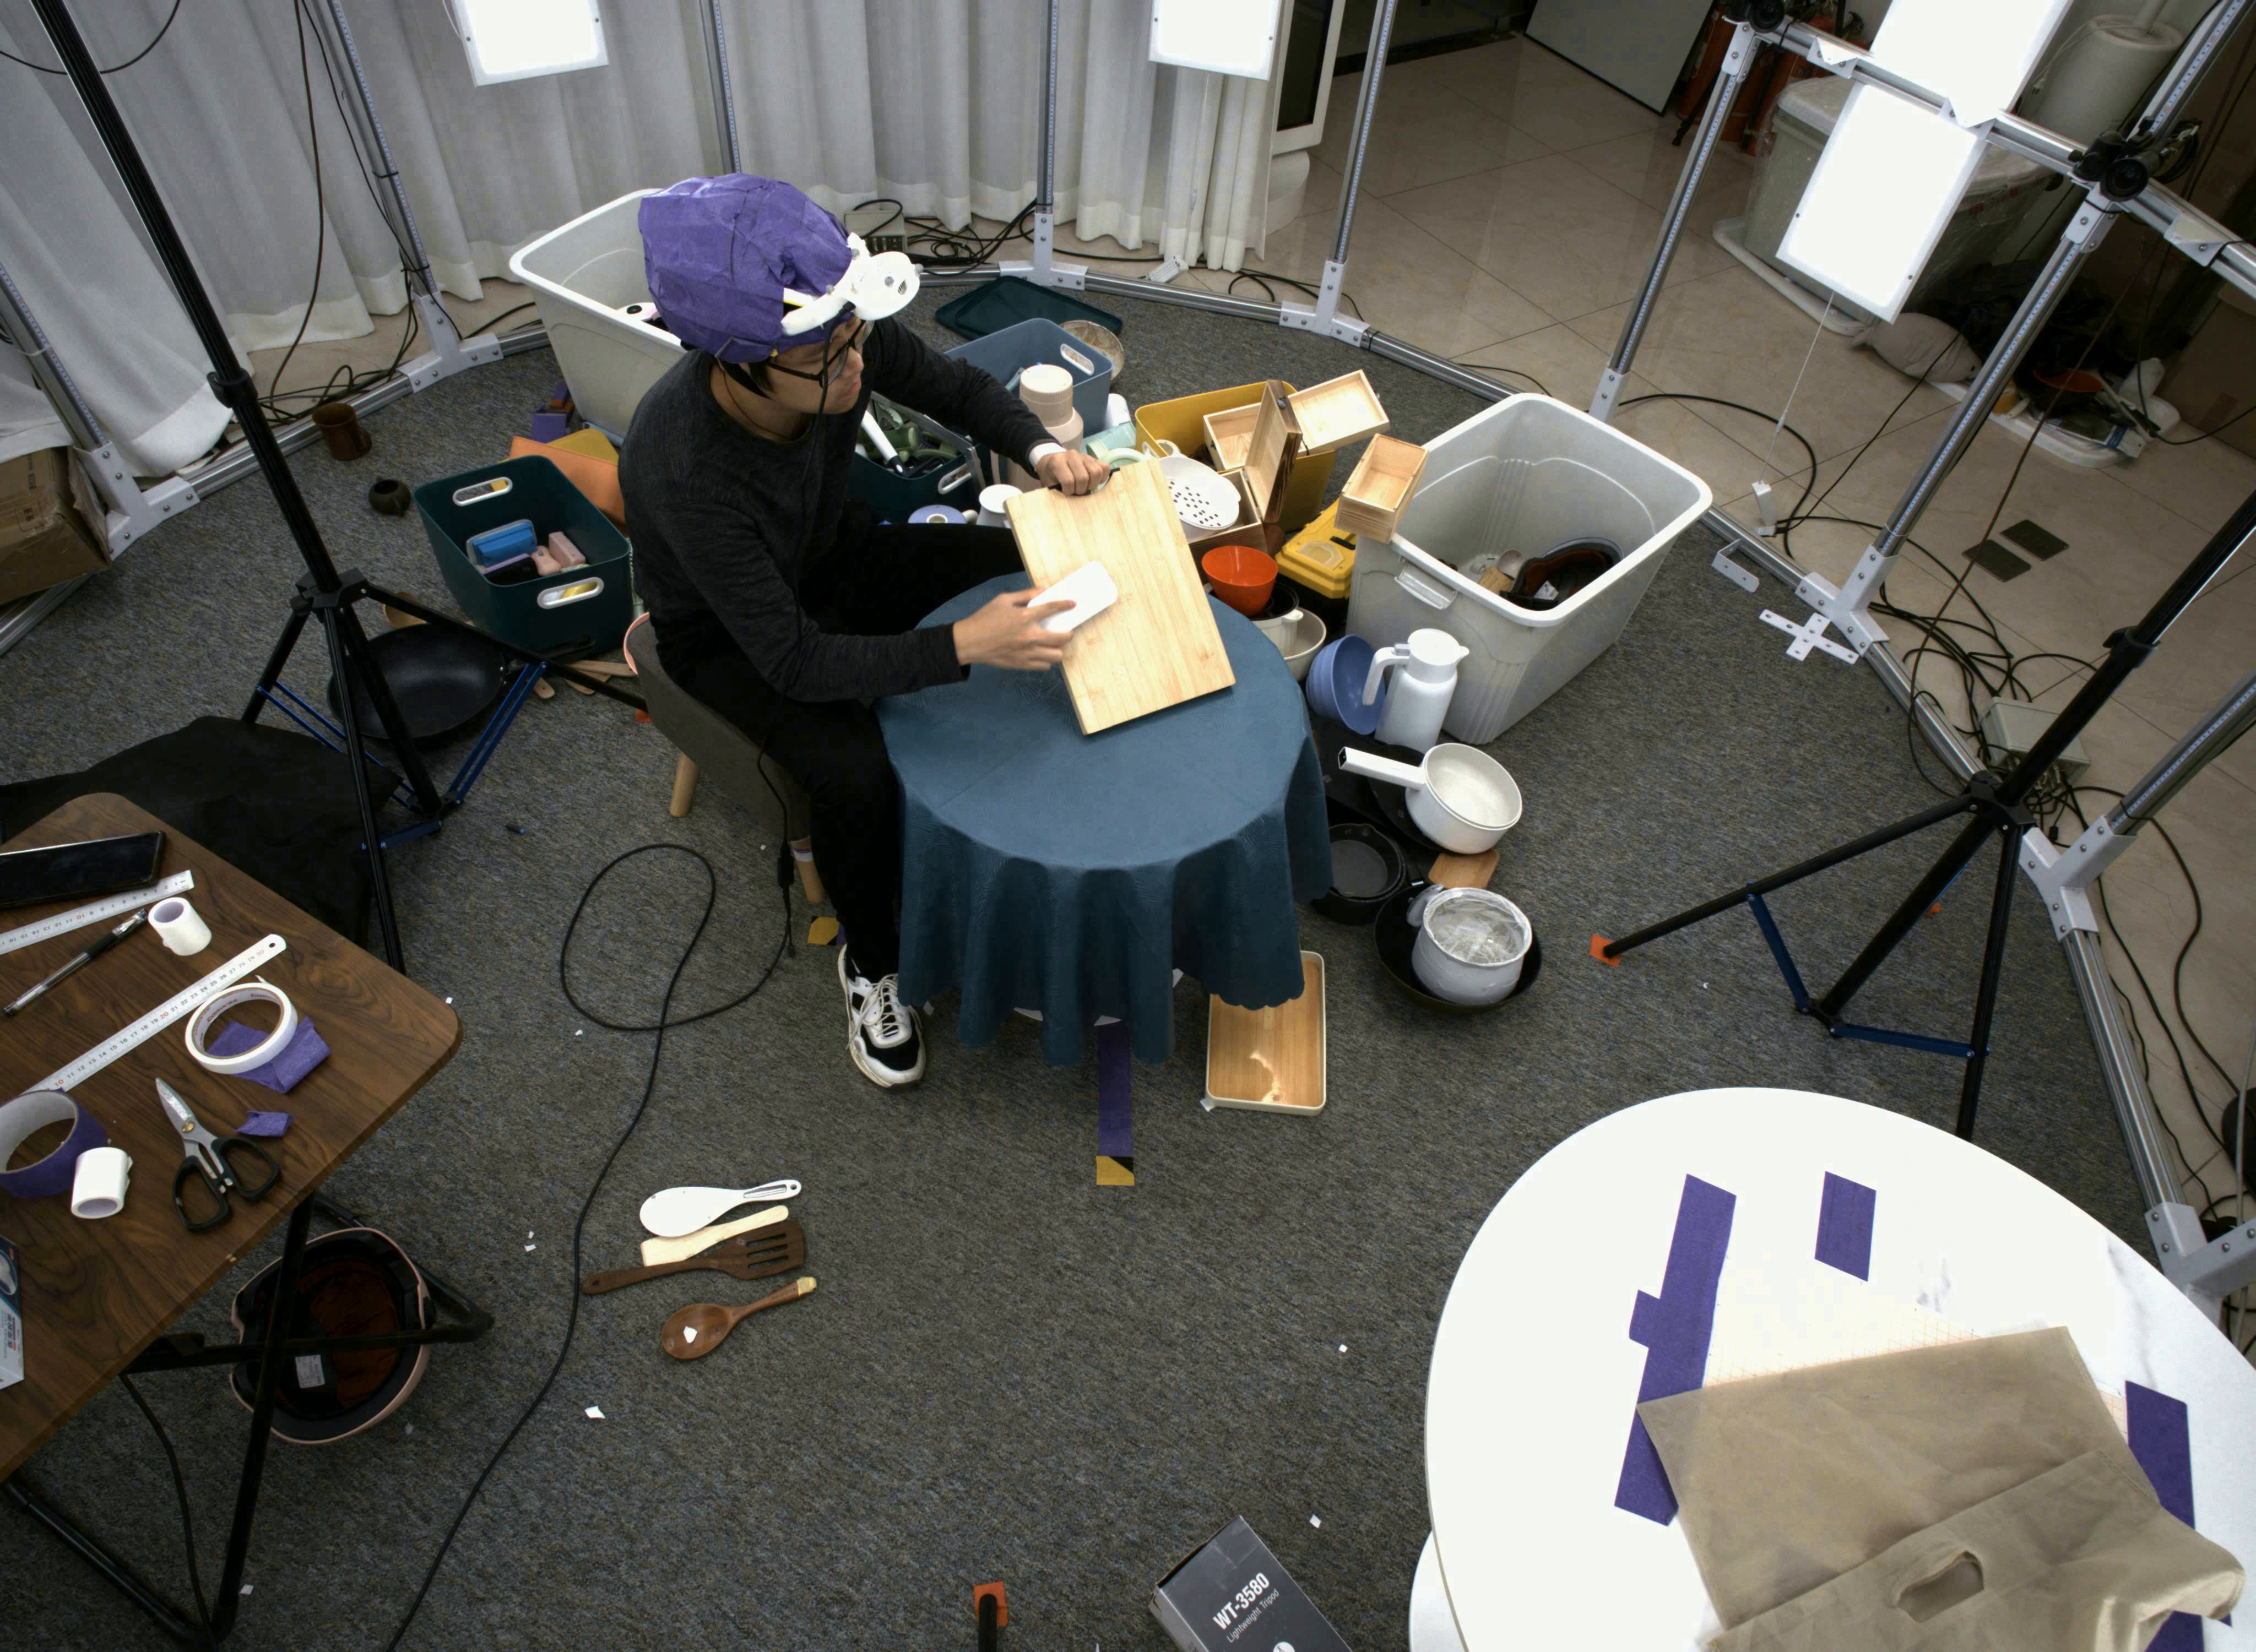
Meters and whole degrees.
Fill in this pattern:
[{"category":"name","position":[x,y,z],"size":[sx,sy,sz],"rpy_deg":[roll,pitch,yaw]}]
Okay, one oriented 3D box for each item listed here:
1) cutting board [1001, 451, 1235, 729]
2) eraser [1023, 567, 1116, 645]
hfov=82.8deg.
[{"category":"cutting board","position":[-0.011,-0.331,1.807],"size":[0.251,0.023,0.348],"rpy_deg":[-21,91,-21]},{"category":"eraser","position":[-0.080,-0.300,1.752],"size":[0.132,0.034,0.063],"rpy_deg":[-34,96,-21]}]
